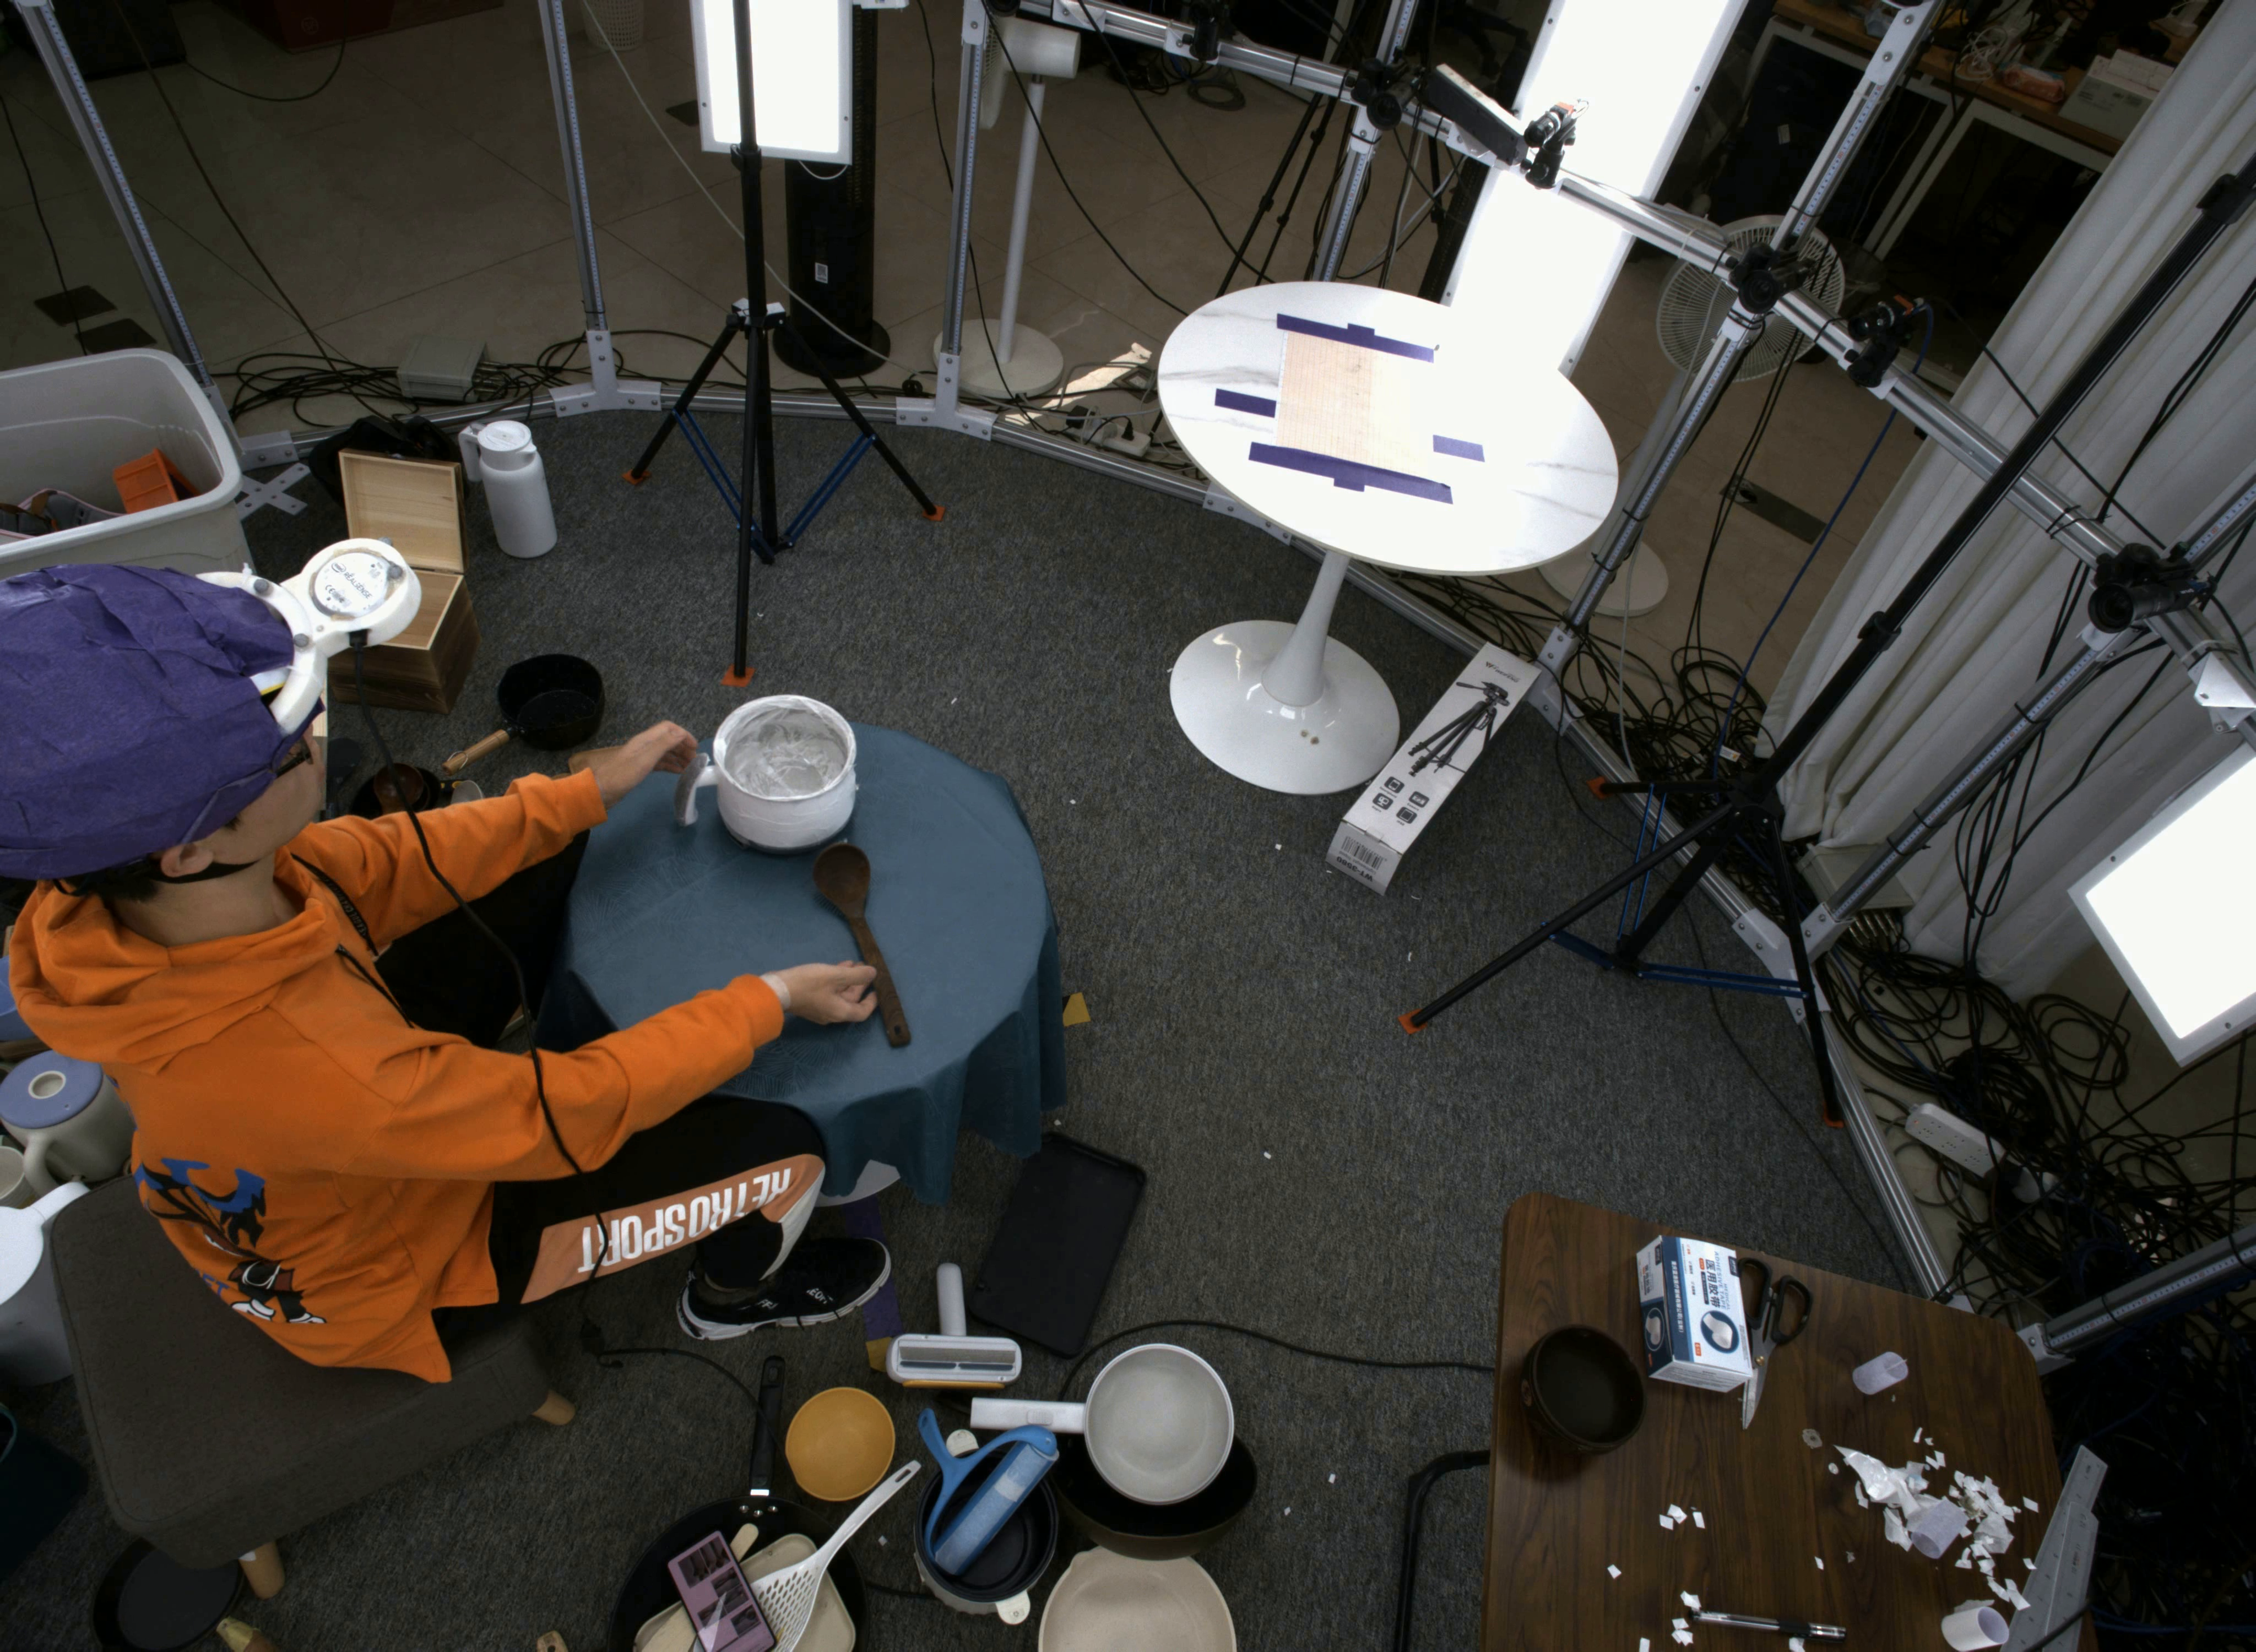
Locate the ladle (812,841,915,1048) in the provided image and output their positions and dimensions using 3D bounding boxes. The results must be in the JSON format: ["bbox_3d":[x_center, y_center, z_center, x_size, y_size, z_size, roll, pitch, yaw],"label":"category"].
[{"bbox_3d":[-0.318,0.137,1.594,0.076,0.073,0.267,-17,59,-21],"label":"ladle"}]

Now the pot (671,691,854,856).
[{"bbox_3d":[-0.469,-0.058,1.657,0.235,0.139,0.174,-12,56,-22],"label":"pot"}]
